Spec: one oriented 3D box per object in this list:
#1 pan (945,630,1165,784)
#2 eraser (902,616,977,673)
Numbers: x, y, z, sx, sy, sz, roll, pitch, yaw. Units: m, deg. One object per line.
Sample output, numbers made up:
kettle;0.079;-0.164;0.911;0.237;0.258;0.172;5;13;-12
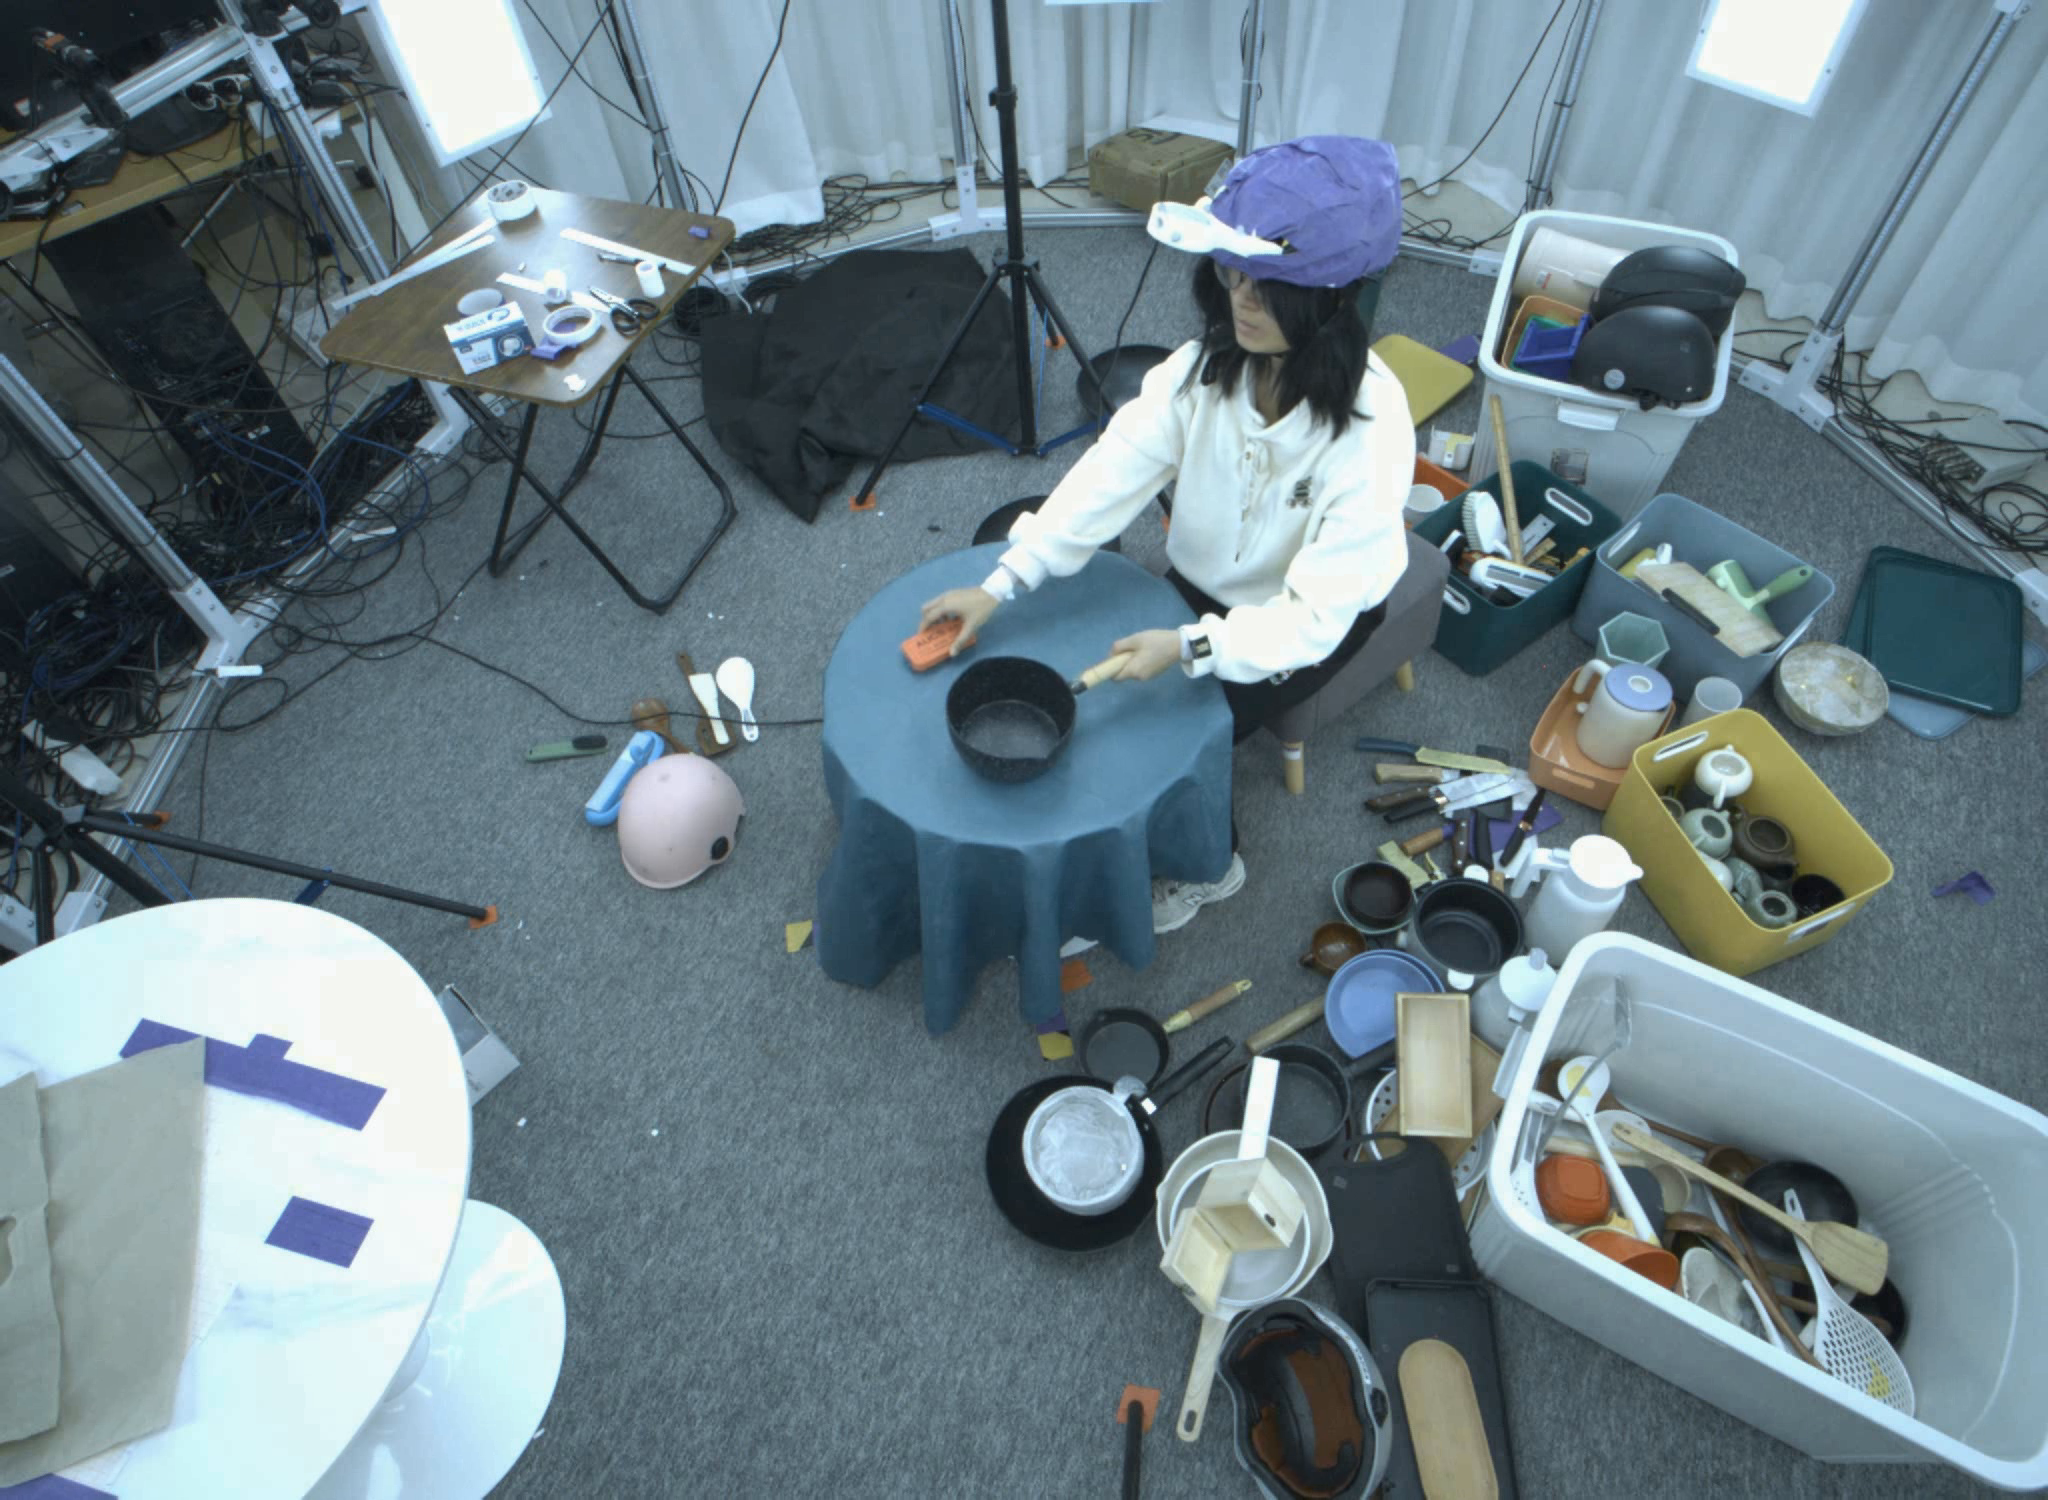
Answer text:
pan;0.050;-0.075;1.772;0.346;0.109;0.203;-25;59;-19
eraser;-0.131;-0.163;1.893;0.109;0.023;0.058;-29;57;-17
